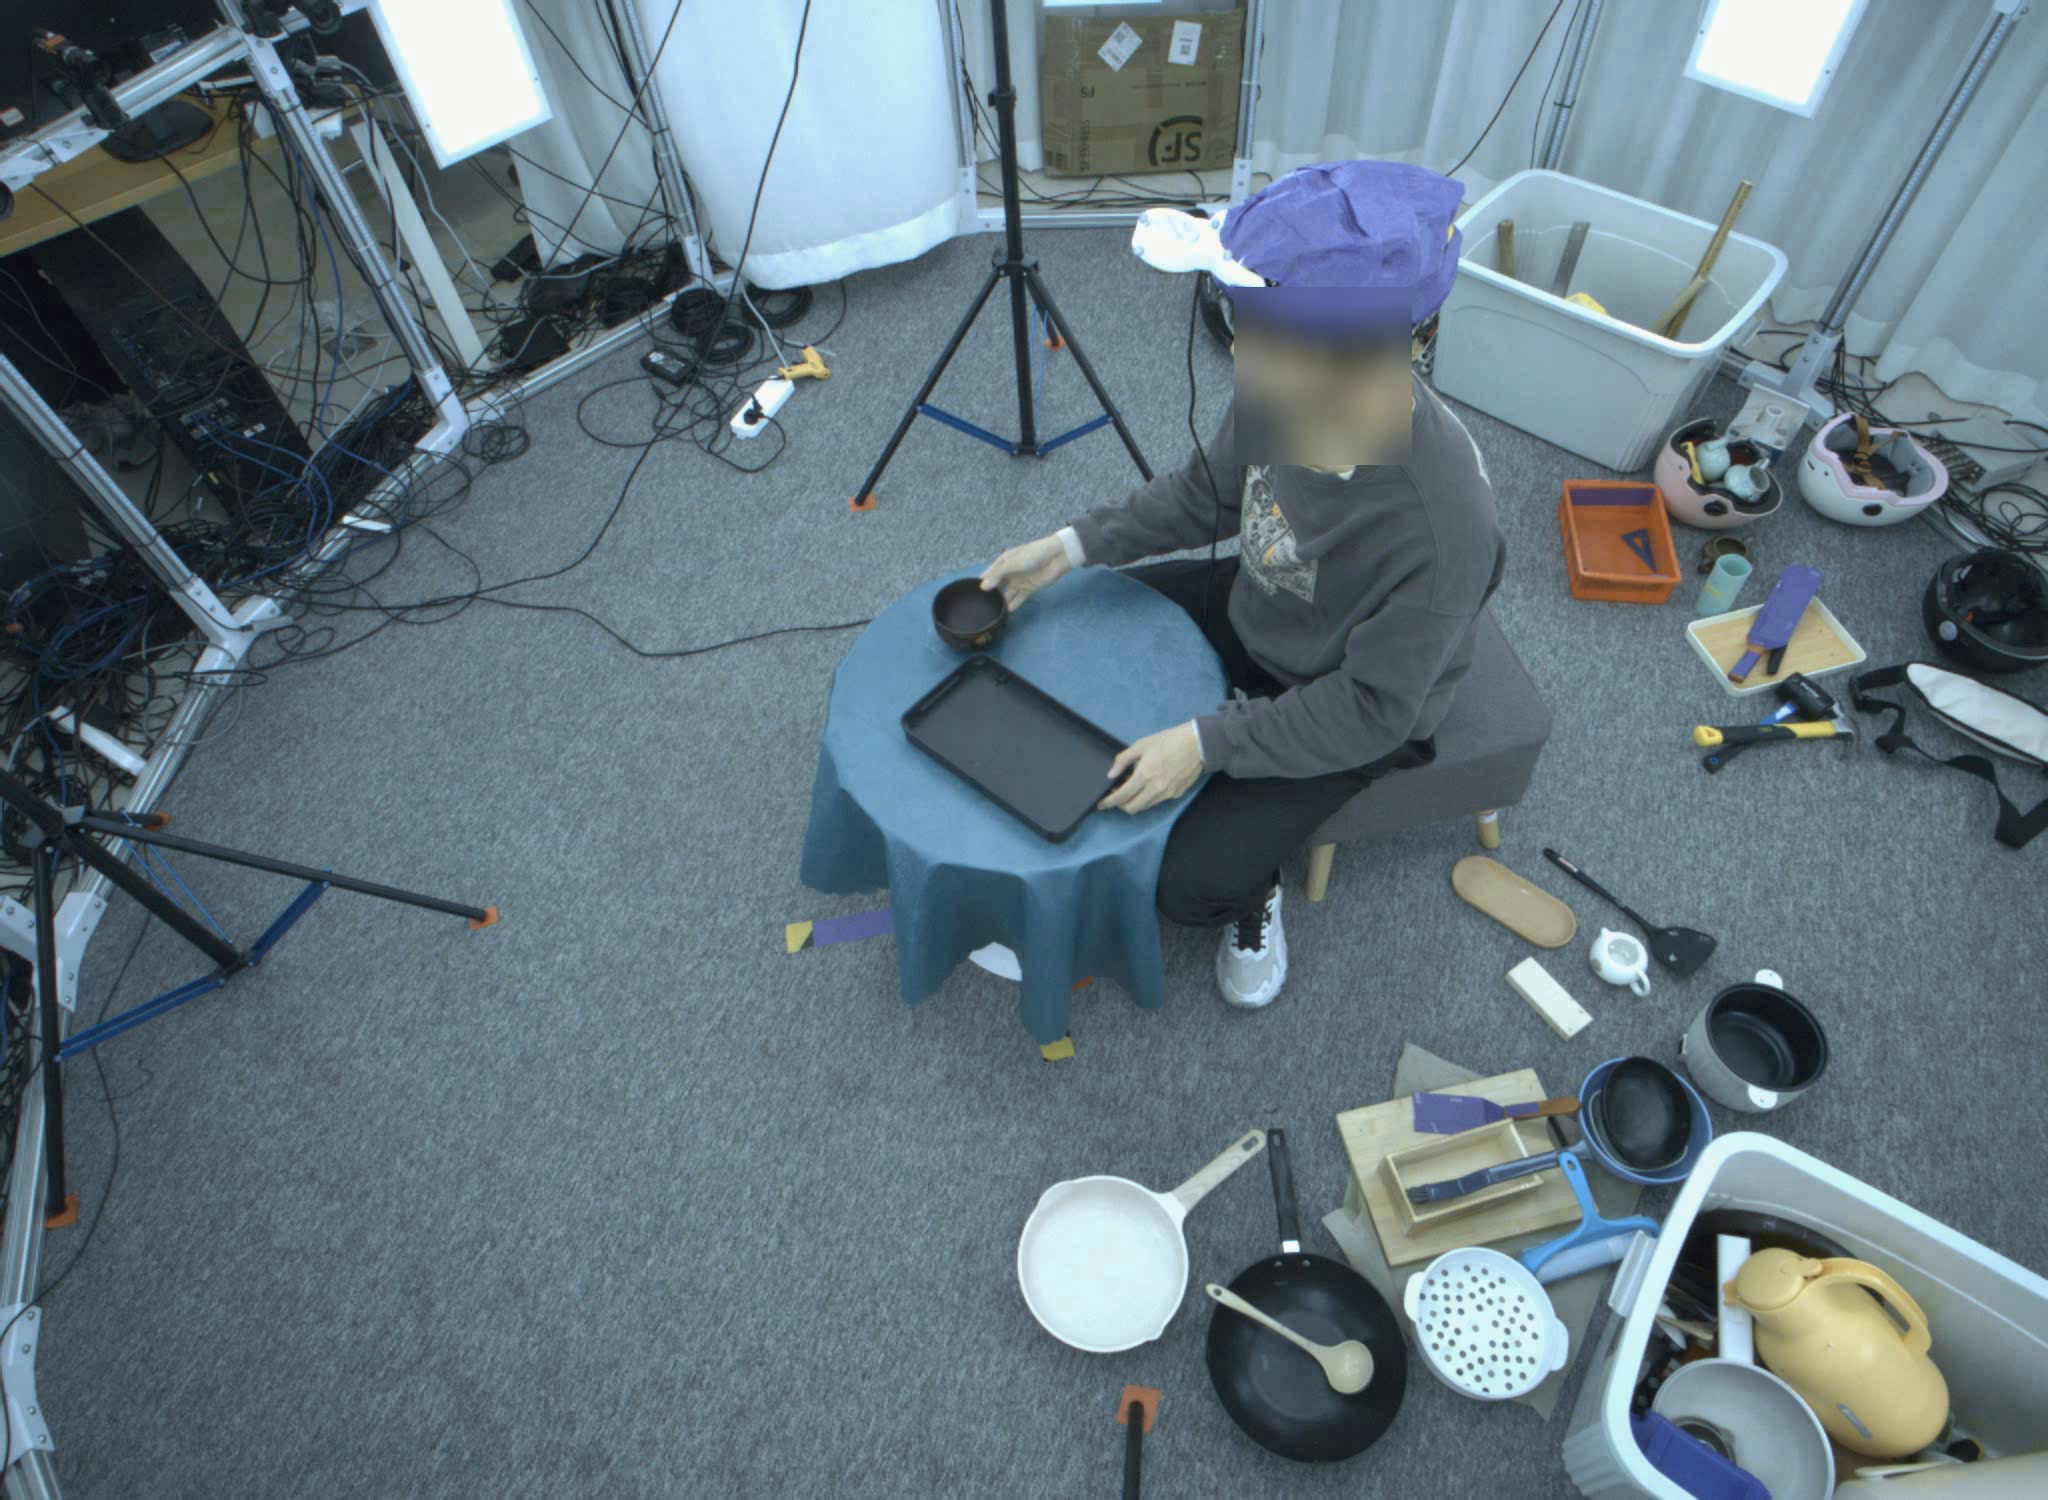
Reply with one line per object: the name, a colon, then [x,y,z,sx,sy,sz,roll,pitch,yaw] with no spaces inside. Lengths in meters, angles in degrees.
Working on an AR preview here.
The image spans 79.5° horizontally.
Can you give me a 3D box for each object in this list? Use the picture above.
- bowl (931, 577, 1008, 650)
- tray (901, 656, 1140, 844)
bowl: [-0.082,-0.202,1.887,0.118,0.070,0.117,0,56,2]
tray: [-0.007,-0.005,1.767,0.312,0.037,0.185,32,61,23]
